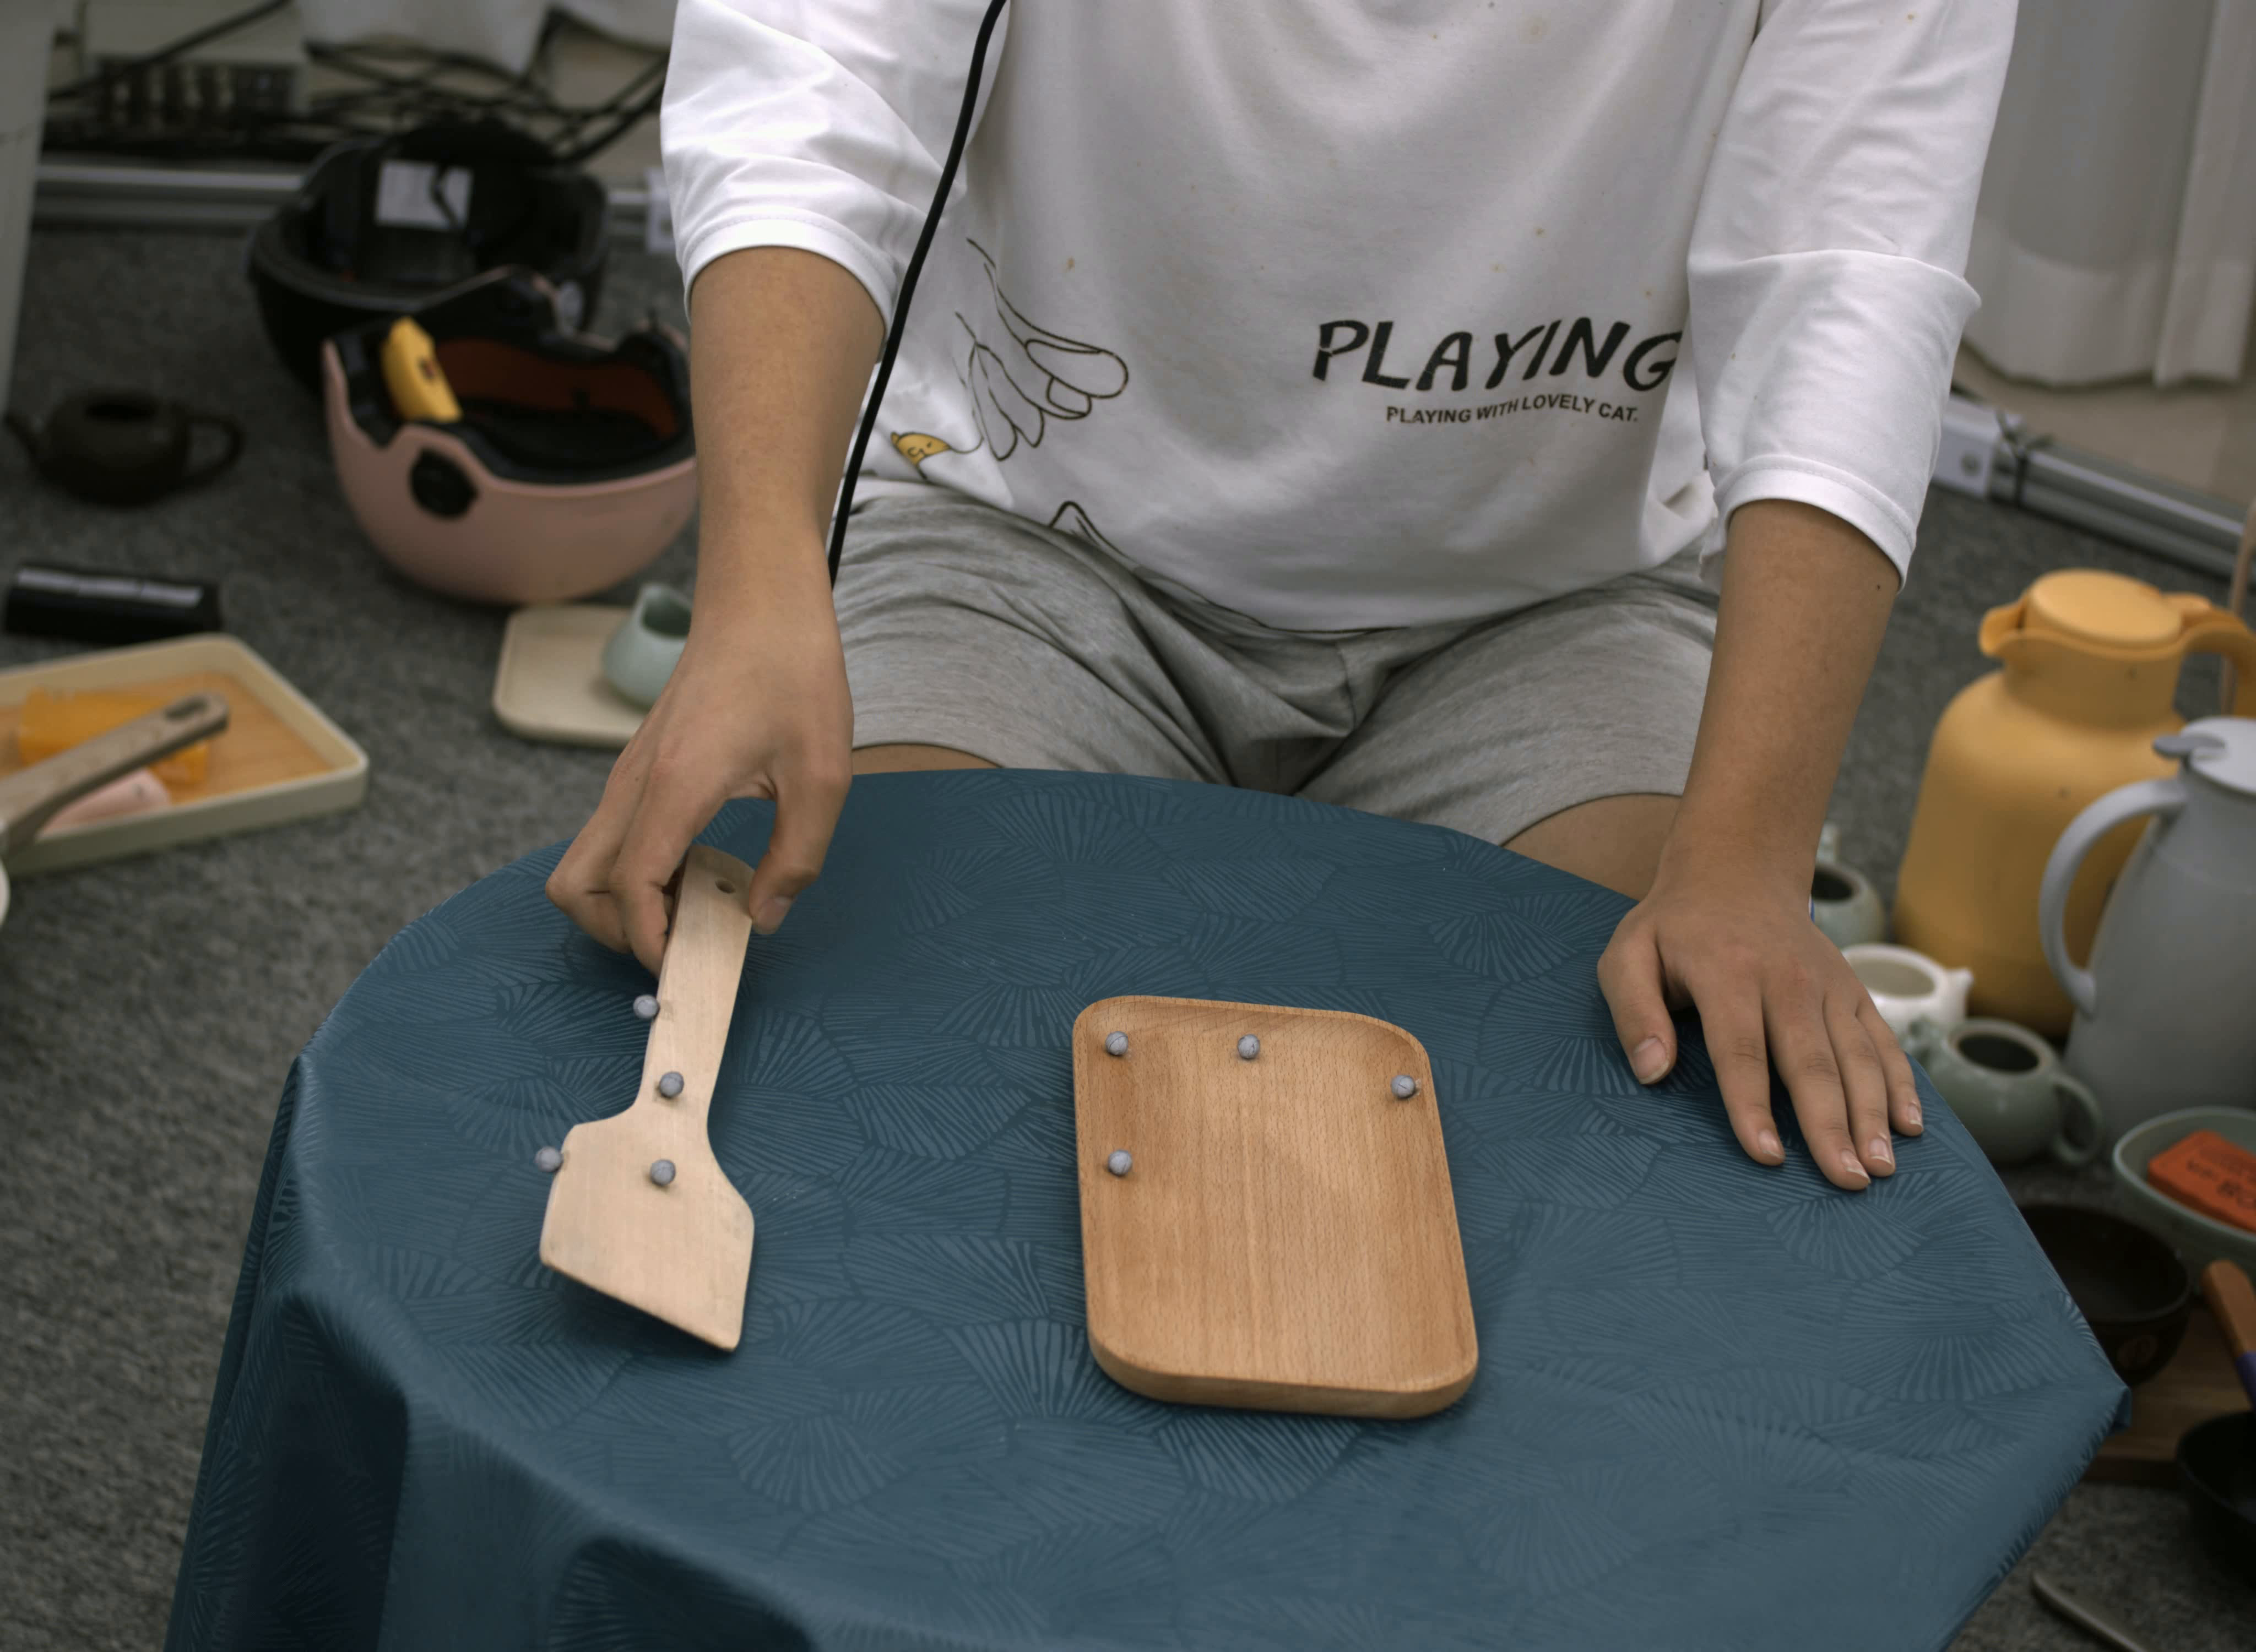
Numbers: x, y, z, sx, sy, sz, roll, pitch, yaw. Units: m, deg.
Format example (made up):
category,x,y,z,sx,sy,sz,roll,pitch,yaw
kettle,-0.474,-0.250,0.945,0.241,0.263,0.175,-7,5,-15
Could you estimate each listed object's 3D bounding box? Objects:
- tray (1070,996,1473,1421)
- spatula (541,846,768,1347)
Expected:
category,x,y,z,sx,sy,sz,roll,pitch,yaw
tray,0.045,0.126,1.794,0.130,0.023,0.252,3,27,-2
spatula,-0.150,0.082,1.808,0.072,0.010,0.295,25,27,-11
